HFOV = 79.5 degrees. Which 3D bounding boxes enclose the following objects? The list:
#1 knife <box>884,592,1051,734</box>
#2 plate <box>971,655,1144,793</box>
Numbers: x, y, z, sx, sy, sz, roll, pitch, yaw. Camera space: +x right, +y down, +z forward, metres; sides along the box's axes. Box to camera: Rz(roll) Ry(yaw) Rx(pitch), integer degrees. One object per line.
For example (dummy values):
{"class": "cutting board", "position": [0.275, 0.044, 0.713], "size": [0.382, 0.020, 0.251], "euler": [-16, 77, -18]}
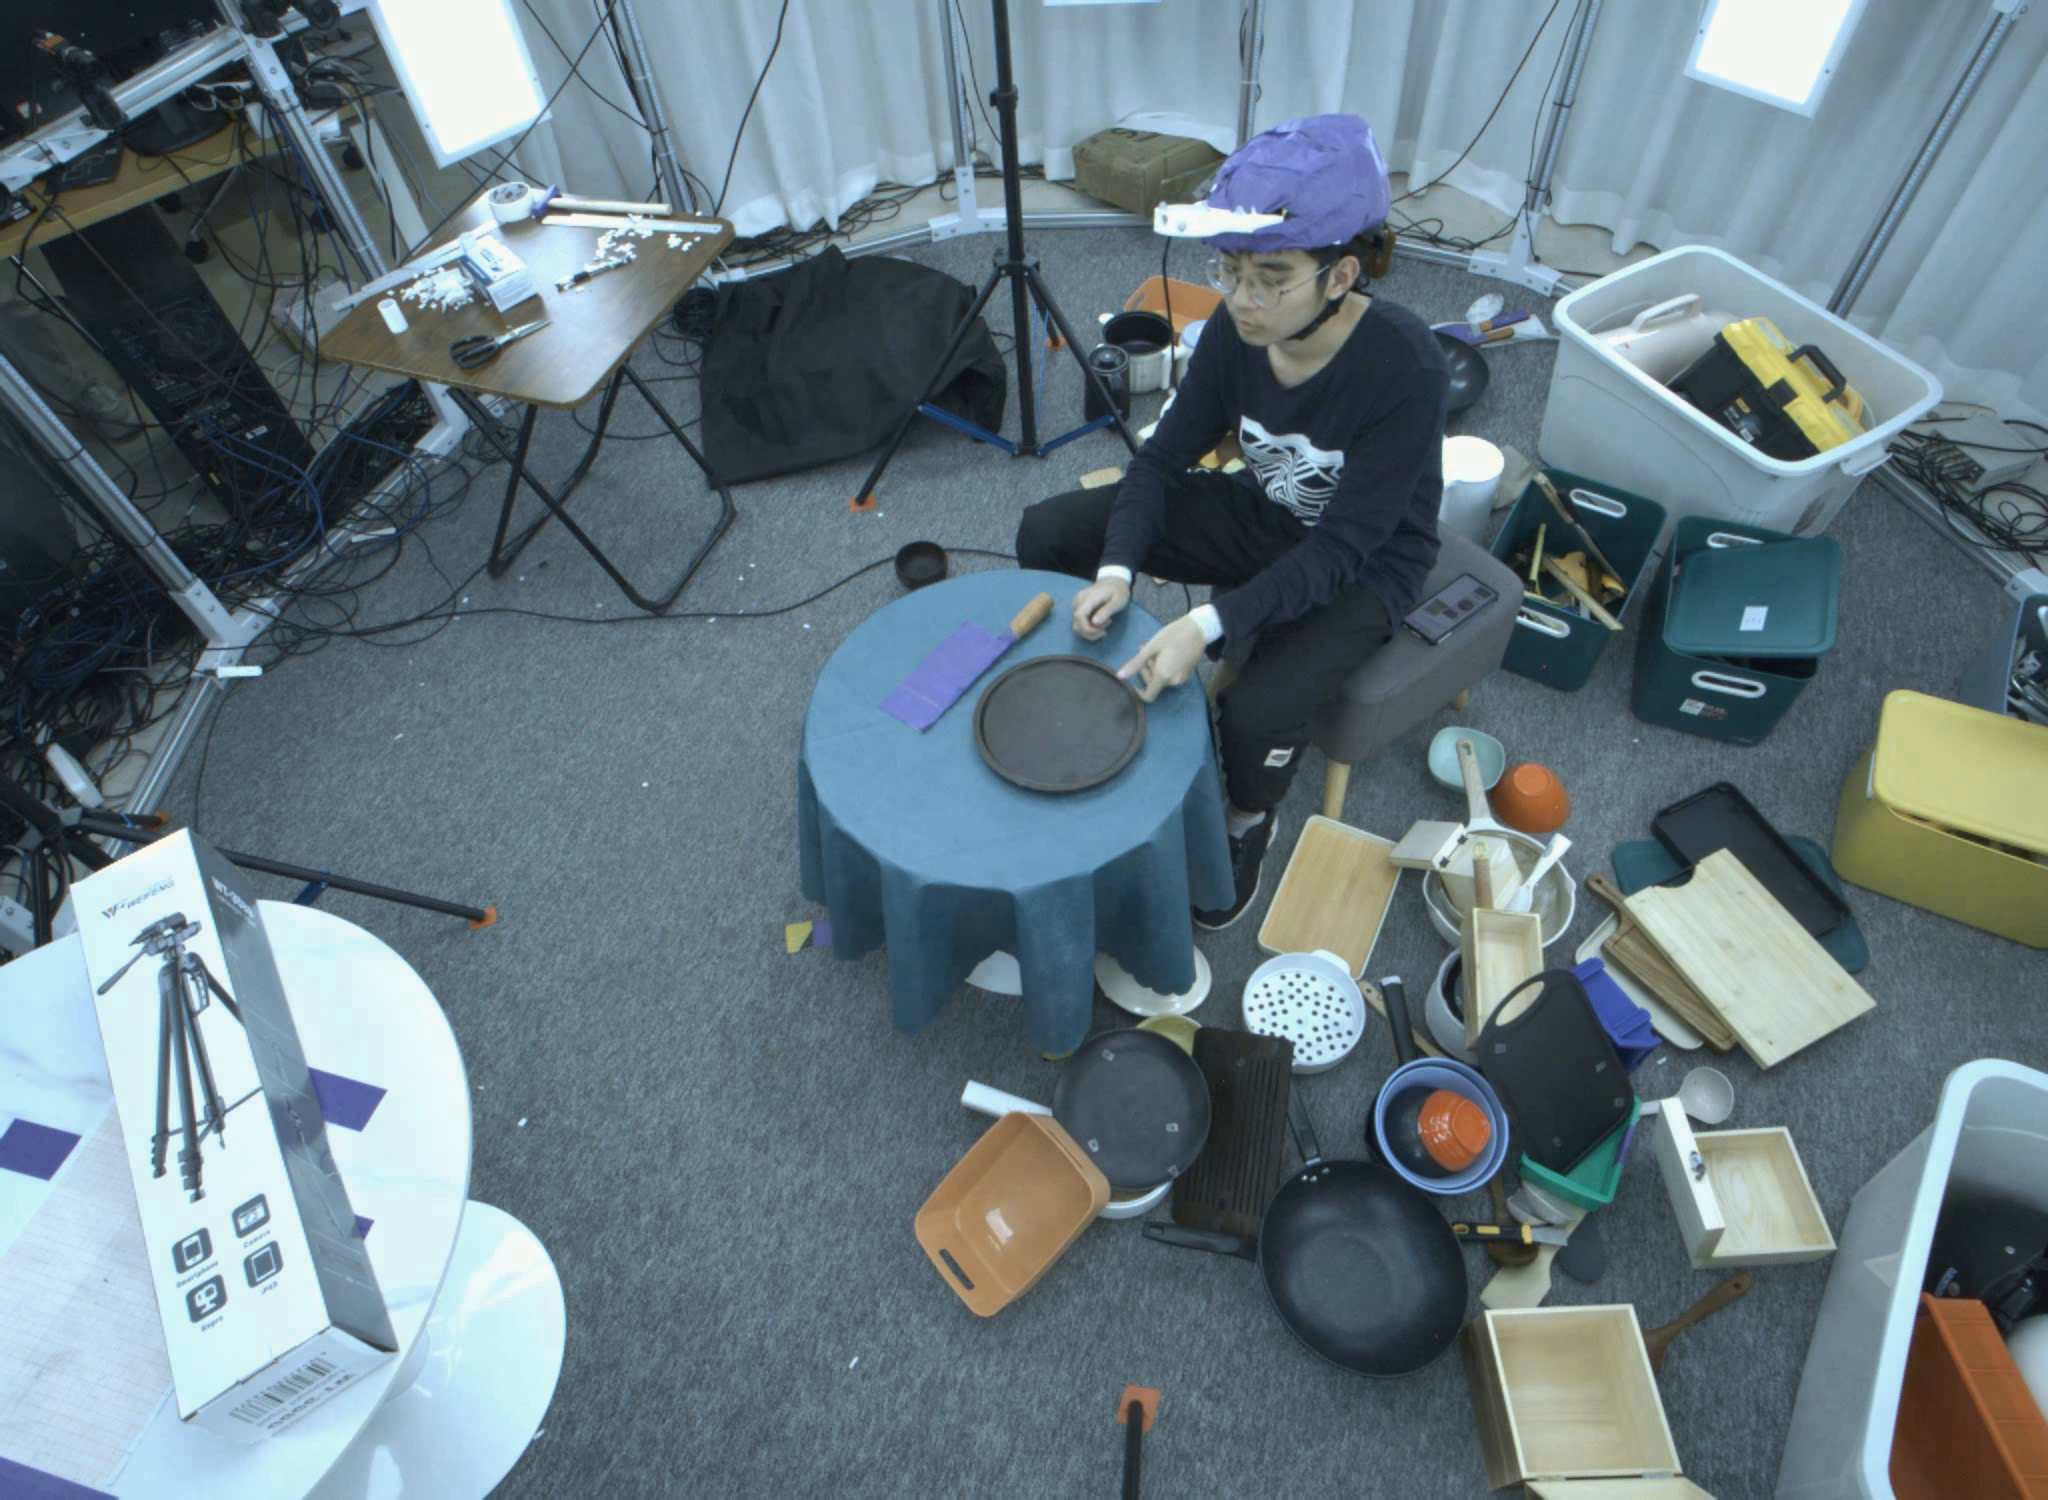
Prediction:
{"class": "knife", "position": [-0.088, -0.151, 1.889], "size": [0.102, 0.032, 0.317], "euler": [32, 62, 22]}
{"class": "plate", "position": [0.049, -0.040, 1.808], "size": [0.254, 0.029, 0.252], "euler": [0, 55, 1]}
